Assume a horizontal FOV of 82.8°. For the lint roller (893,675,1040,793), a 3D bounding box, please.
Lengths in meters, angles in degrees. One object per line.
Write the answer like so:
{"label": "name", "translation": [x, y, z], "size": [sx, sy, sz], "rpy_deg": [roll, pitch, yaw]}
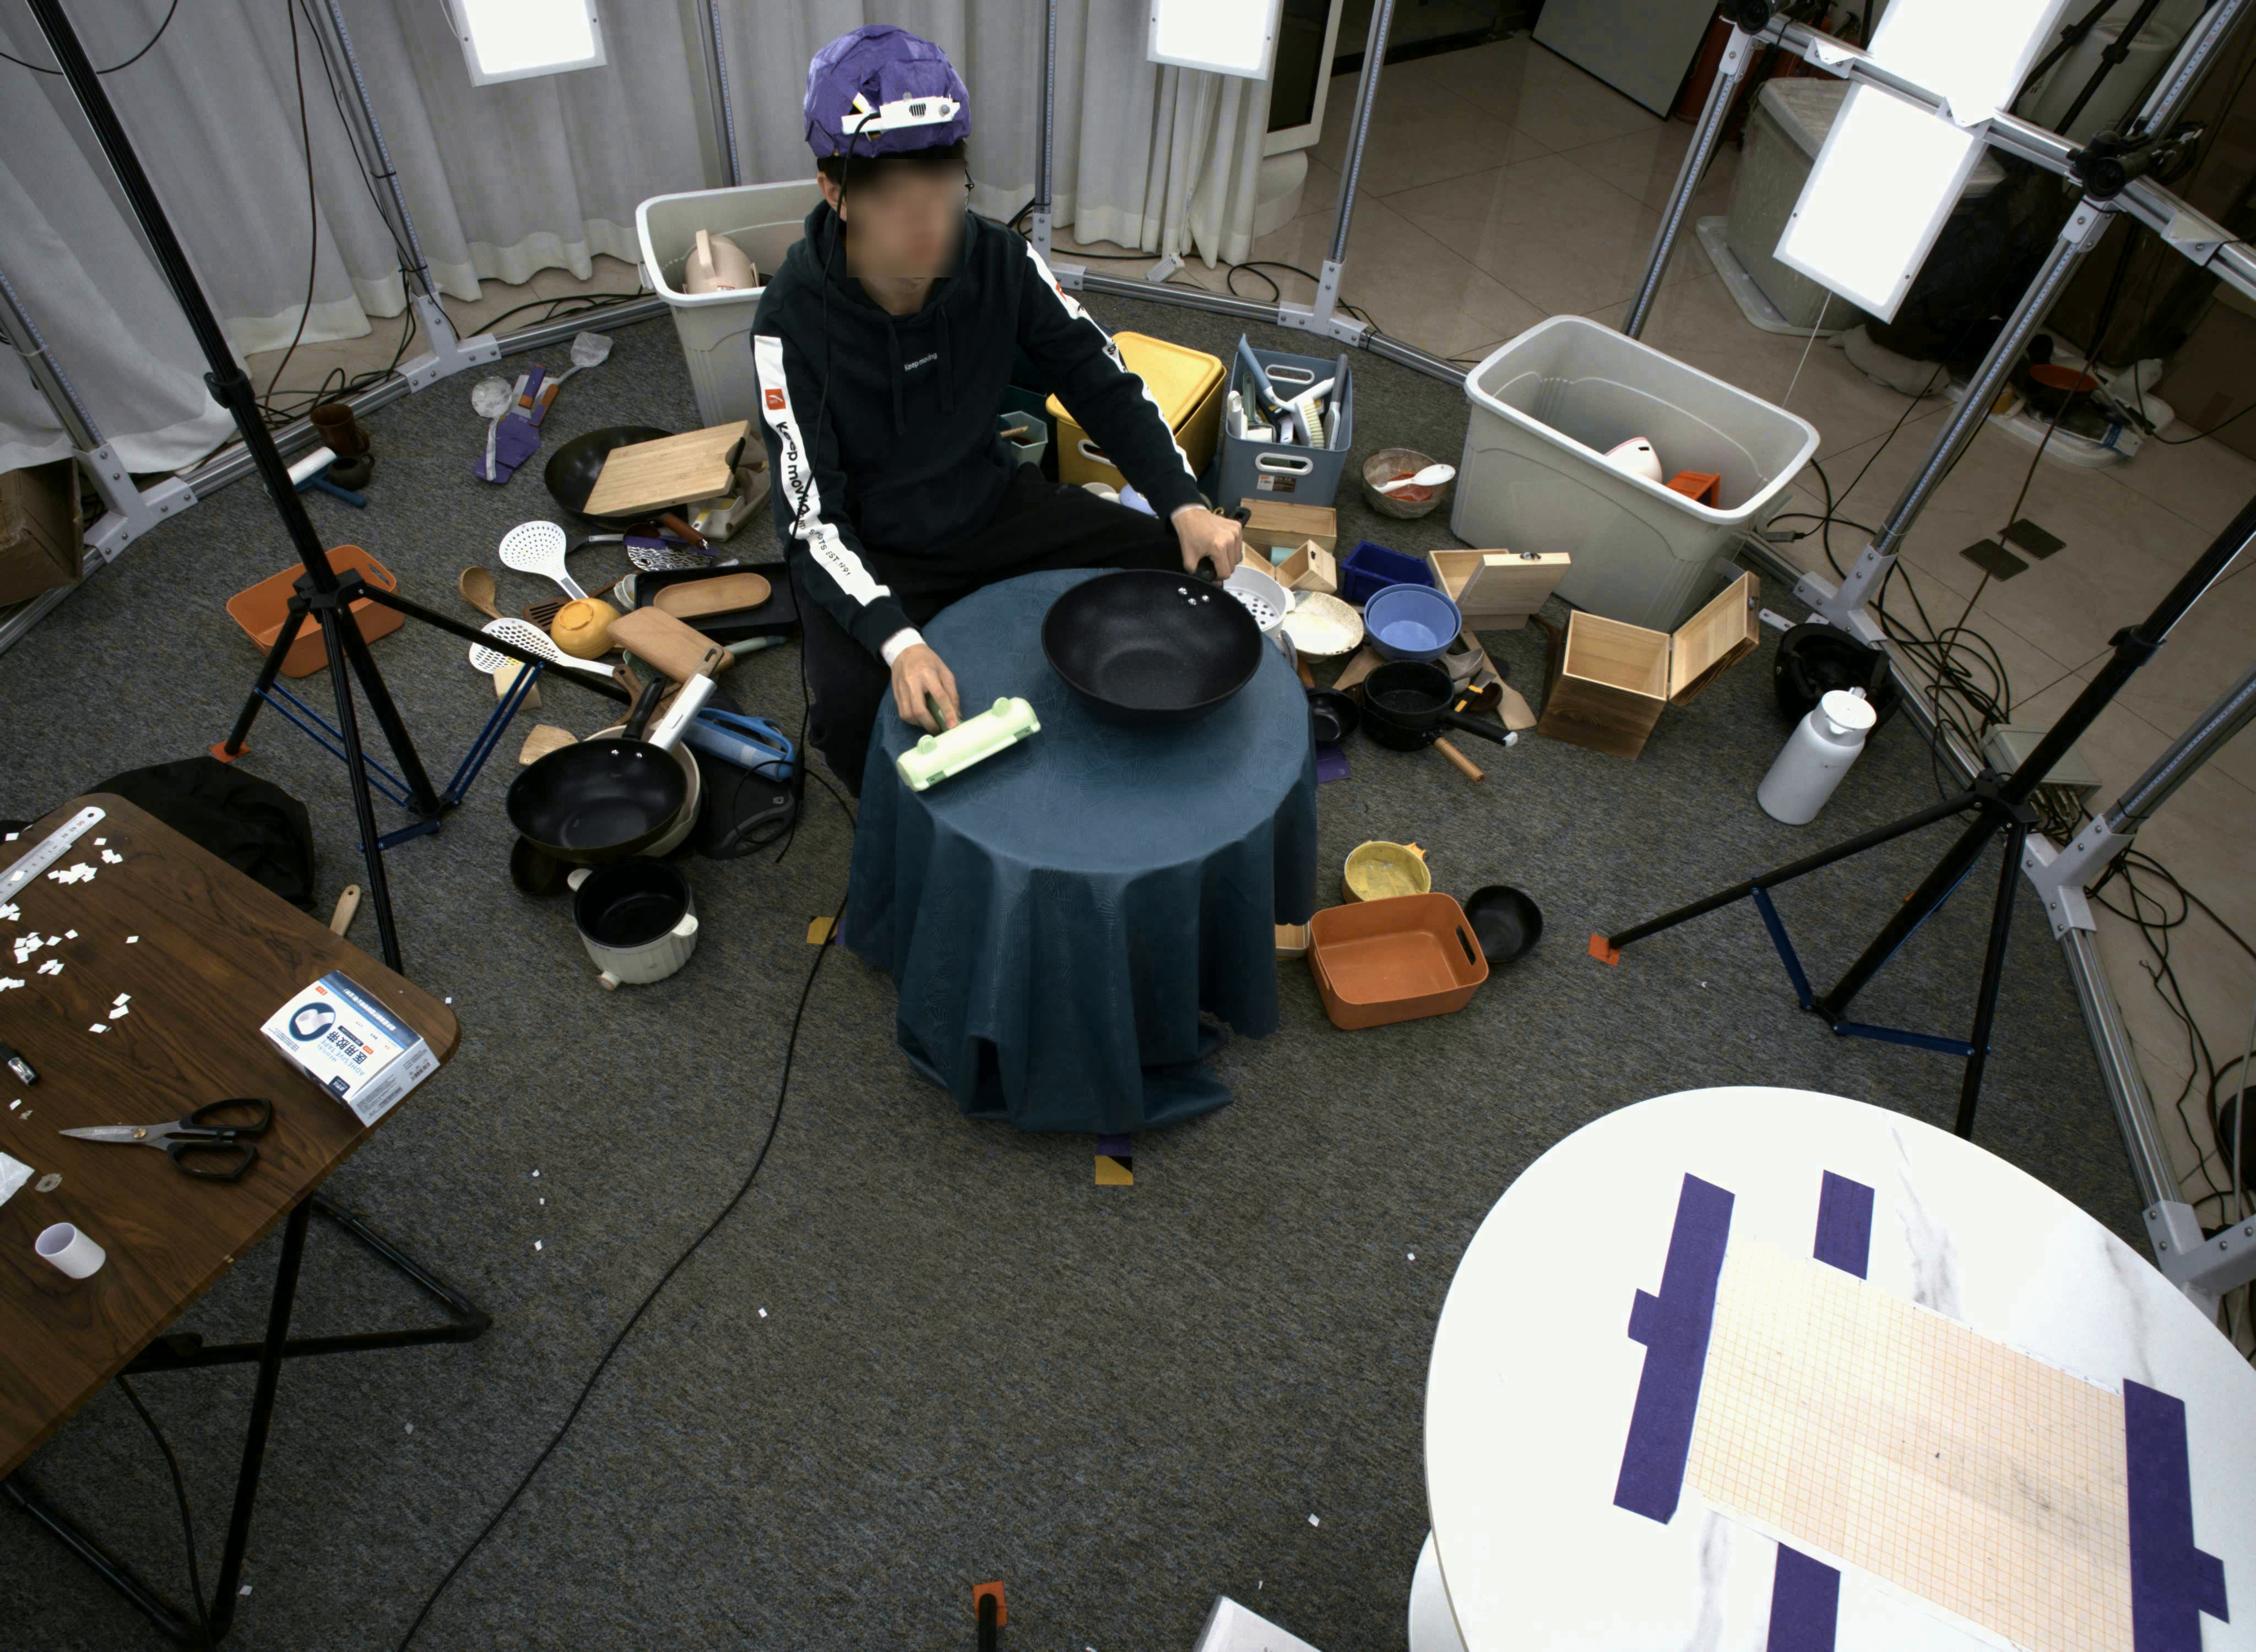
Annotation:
{"label": "lint roller", "translation": [-0.246, -0.154, 1.721], "size": [0.199, 0.080, 0.186], "rpy_deg": [-30, 66, -20]}

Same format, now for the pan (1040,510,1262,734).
{"label": "pan", "translation": [0.068, -0.293, 1.857], "size": [0.312, 0.109, 0.485], "rpy_deg": [22, 49, 15]}
